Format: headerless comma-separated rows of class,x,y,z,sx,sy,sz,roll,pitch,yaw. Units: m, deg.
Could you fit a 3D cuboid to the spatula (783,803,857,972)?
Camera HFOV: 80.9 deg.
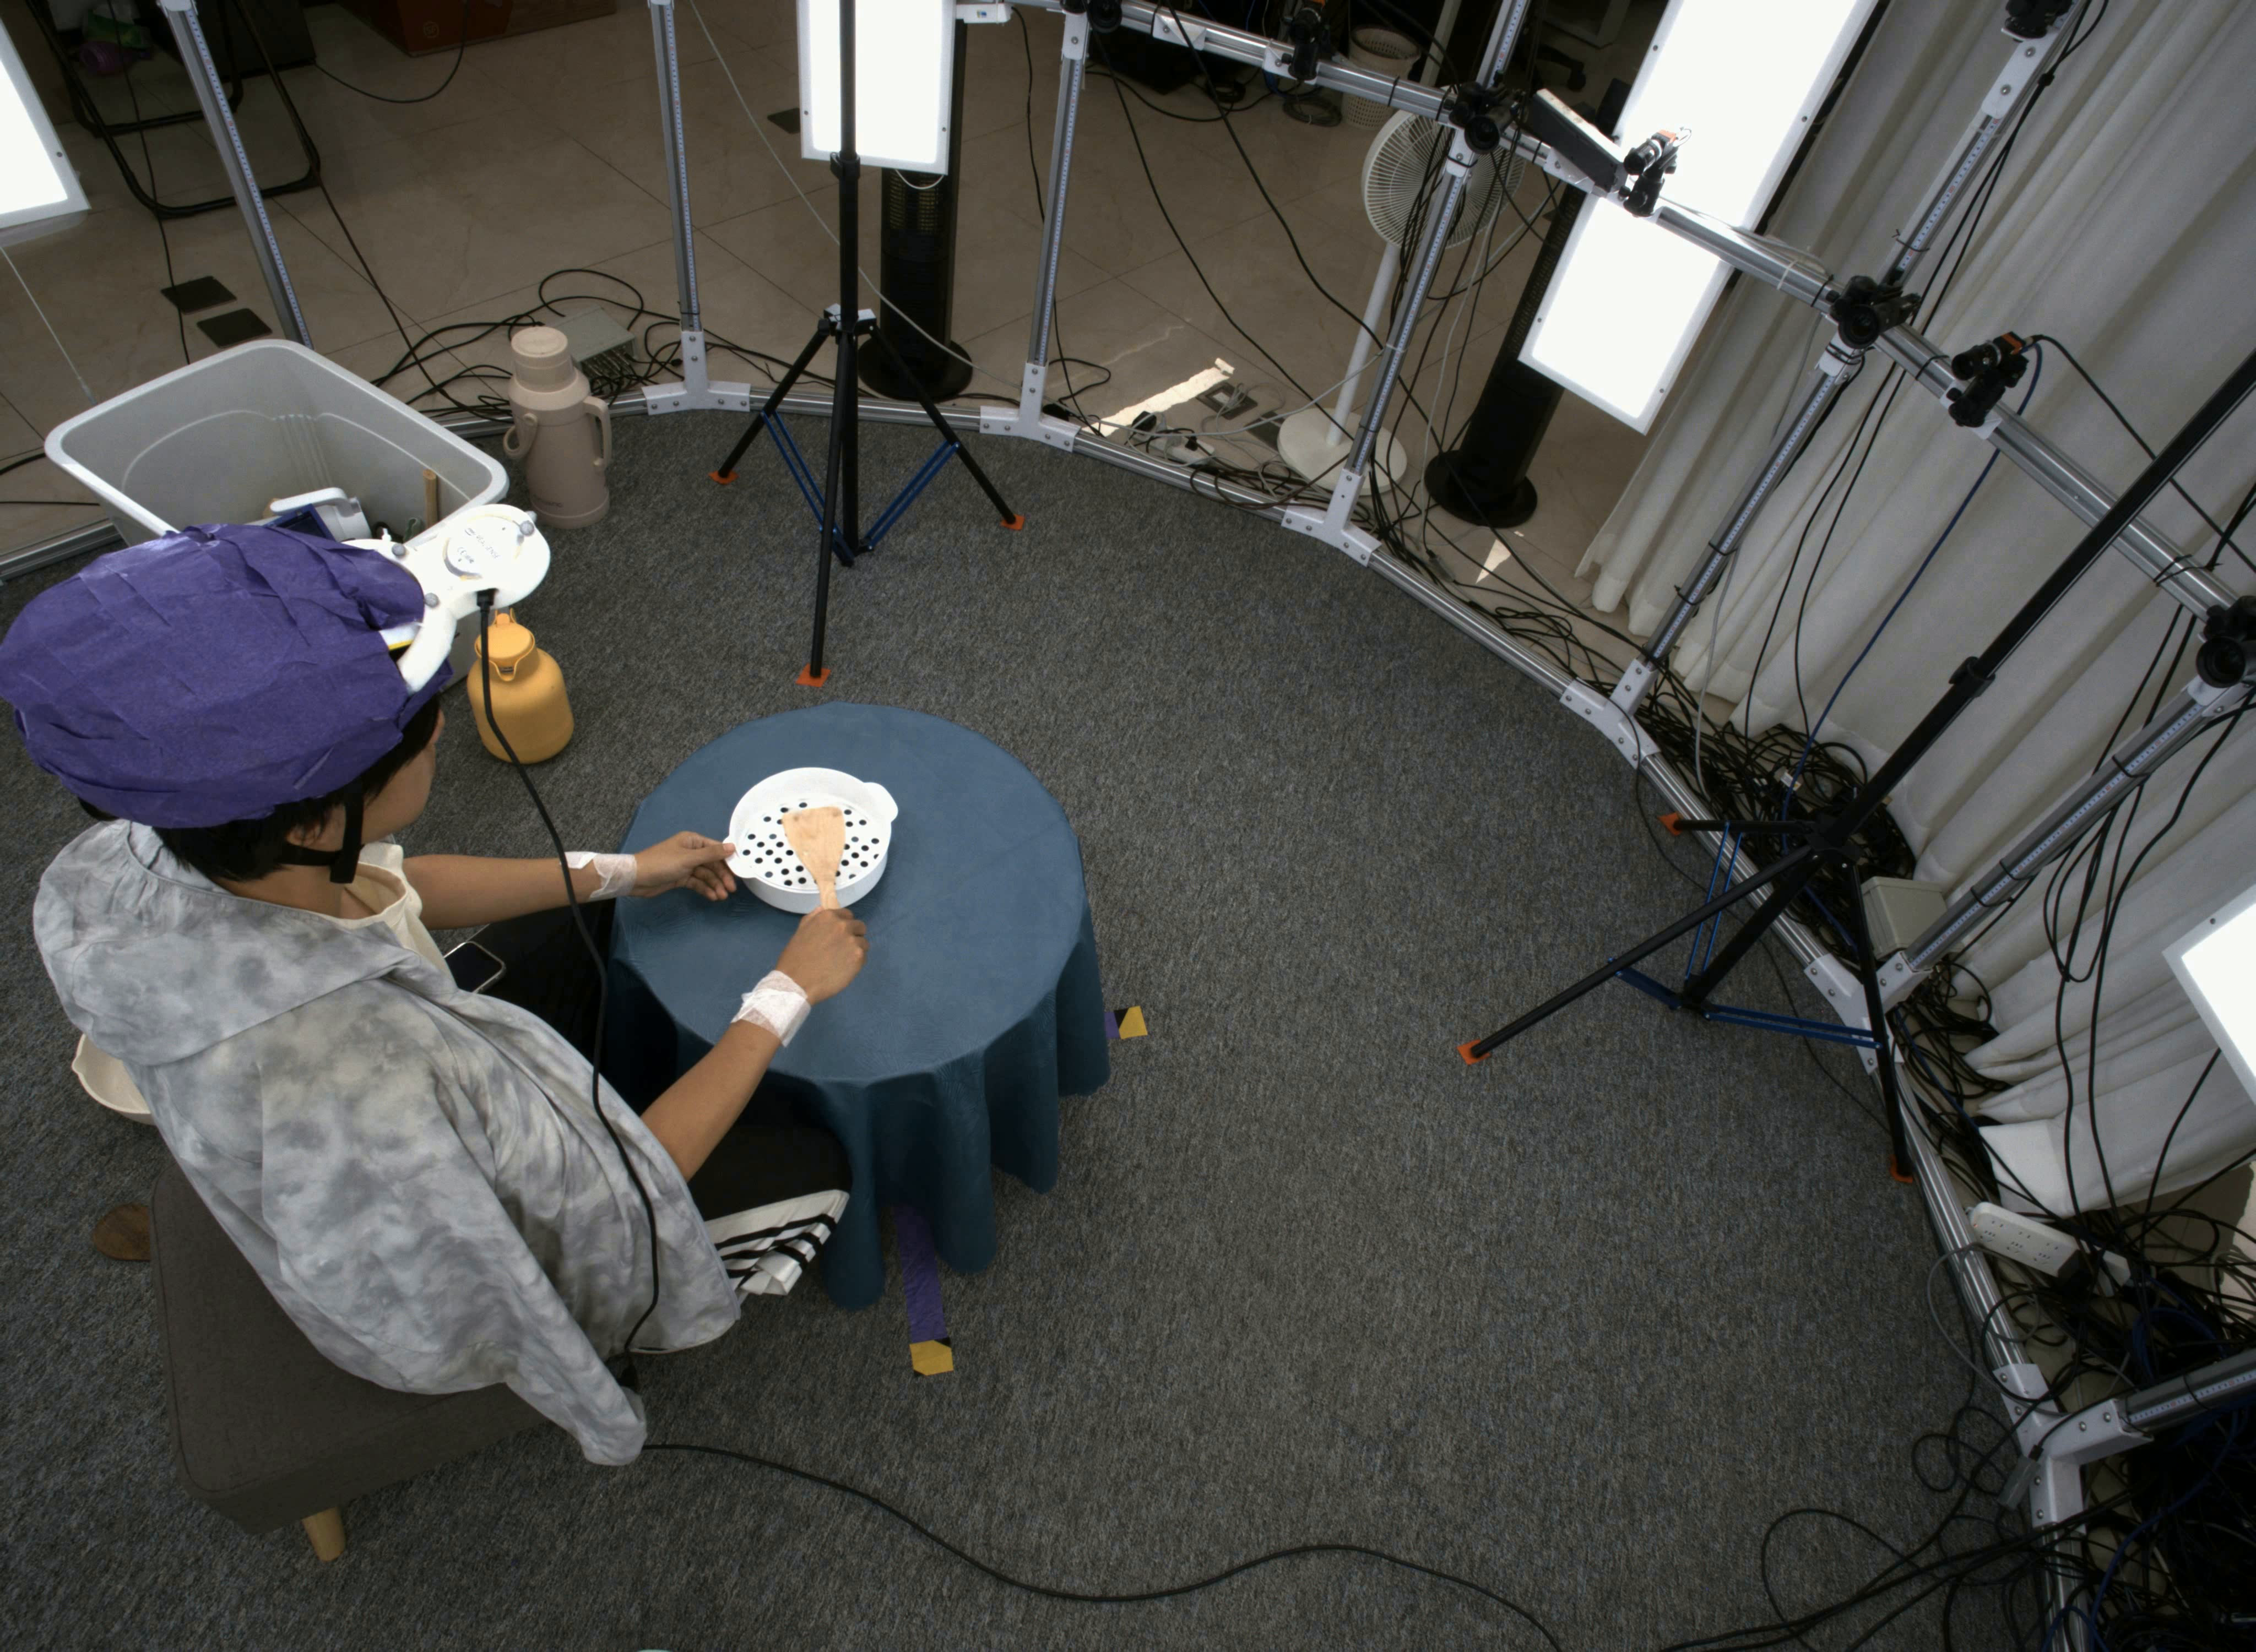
spatula,-0.353,0.064,1.527,0.080,0.017,0.317,0,34,-21

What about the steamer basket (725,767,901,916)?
steamer basket,-0.403,0.019,1.675,0.231,0.071,0.196,-25,61,-27
